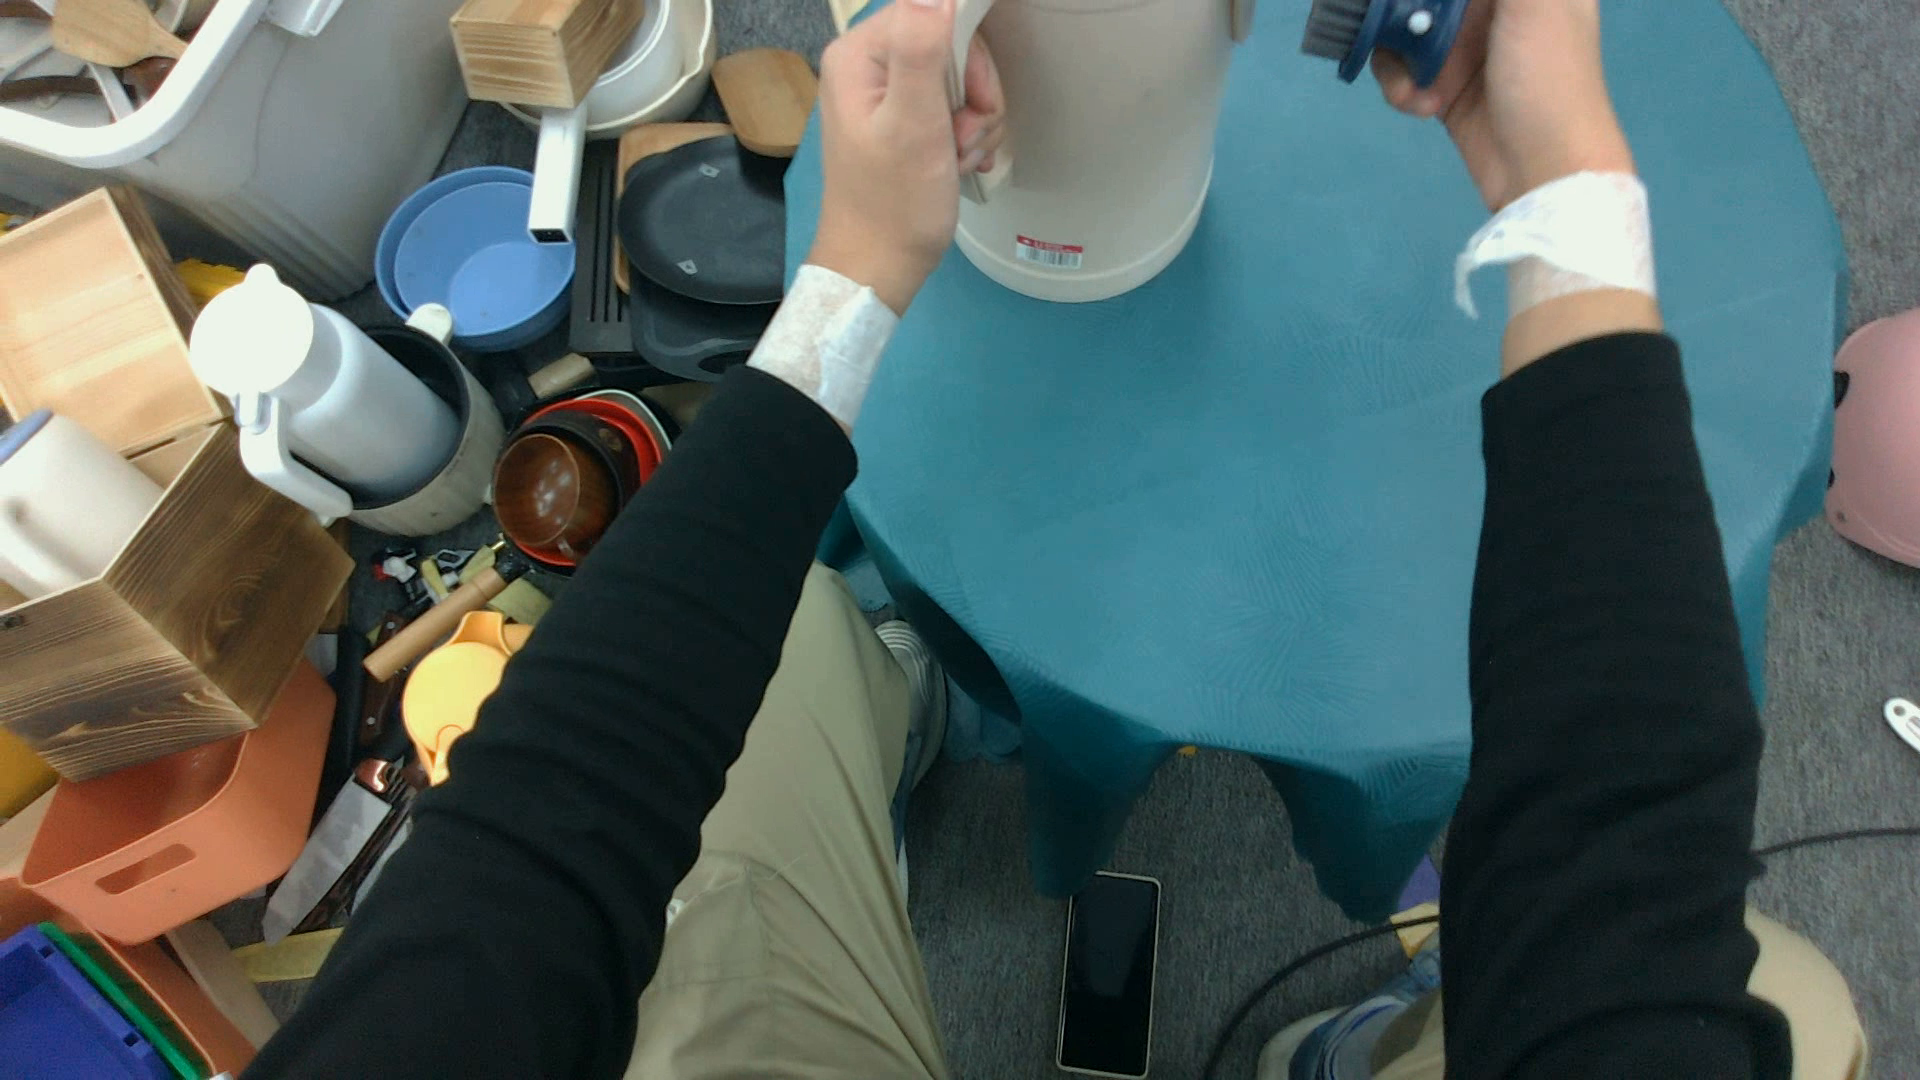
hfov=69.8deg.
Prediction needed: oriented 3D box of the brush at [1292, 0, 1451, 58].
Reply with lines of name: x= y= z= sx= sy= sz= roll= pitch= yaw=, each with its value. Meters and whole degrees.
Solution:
brush: x=0.174 y=-0.255 z=0.564 sx=0.061 sy=0.067 sz=0.122 roll=16 pitch=71 yaw=1

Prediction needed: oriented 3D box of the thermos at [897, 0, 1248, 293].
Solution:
thermos: x=0.043 y=-0.257 z=0.622 sx=0.175 sy=0.405 sz=0.207 roll=32 pitch=78 yaw=9
